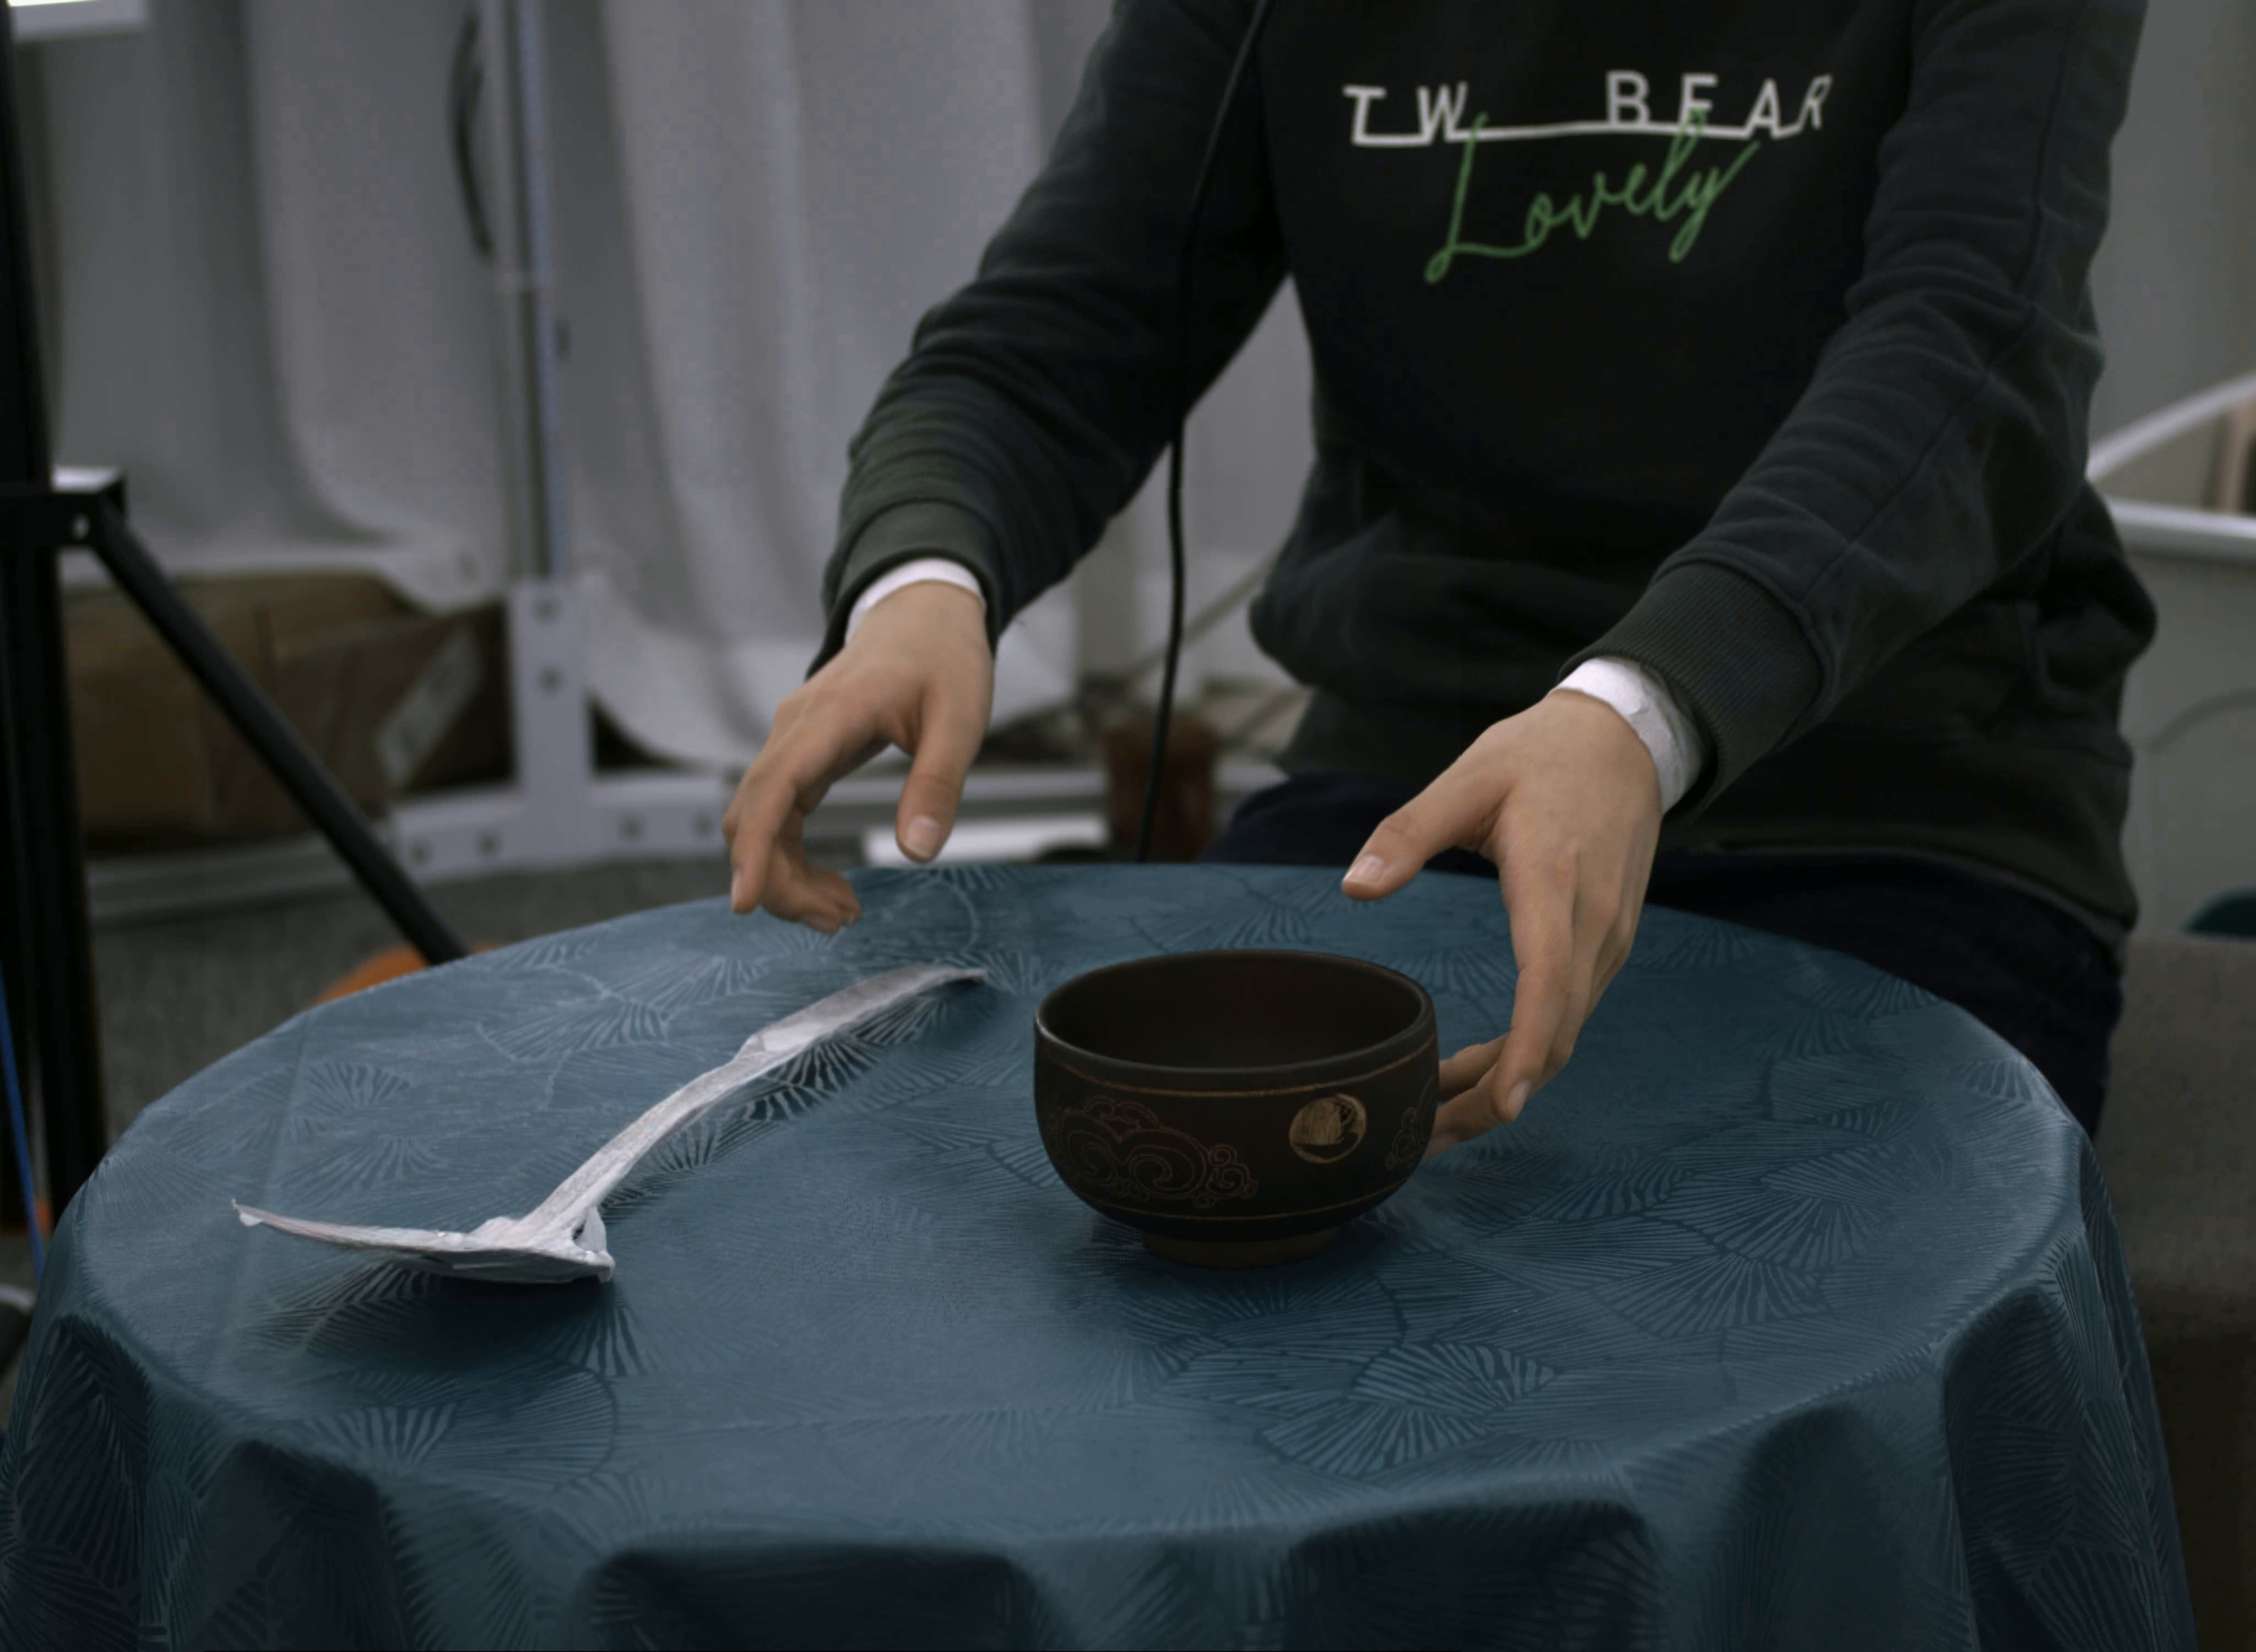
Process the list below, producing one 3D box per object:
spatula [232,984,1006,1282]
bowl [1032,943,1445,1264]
[{"bbox_3d":[-0.131,0.082,1.601,0.100,0.045,0.359,4,17,27],"label":"spatula"},{"bbox_3d":[0.032,0.083,1.510,0.117,0.070,0.118,-1,16,-1],"label":"bowl"}]
